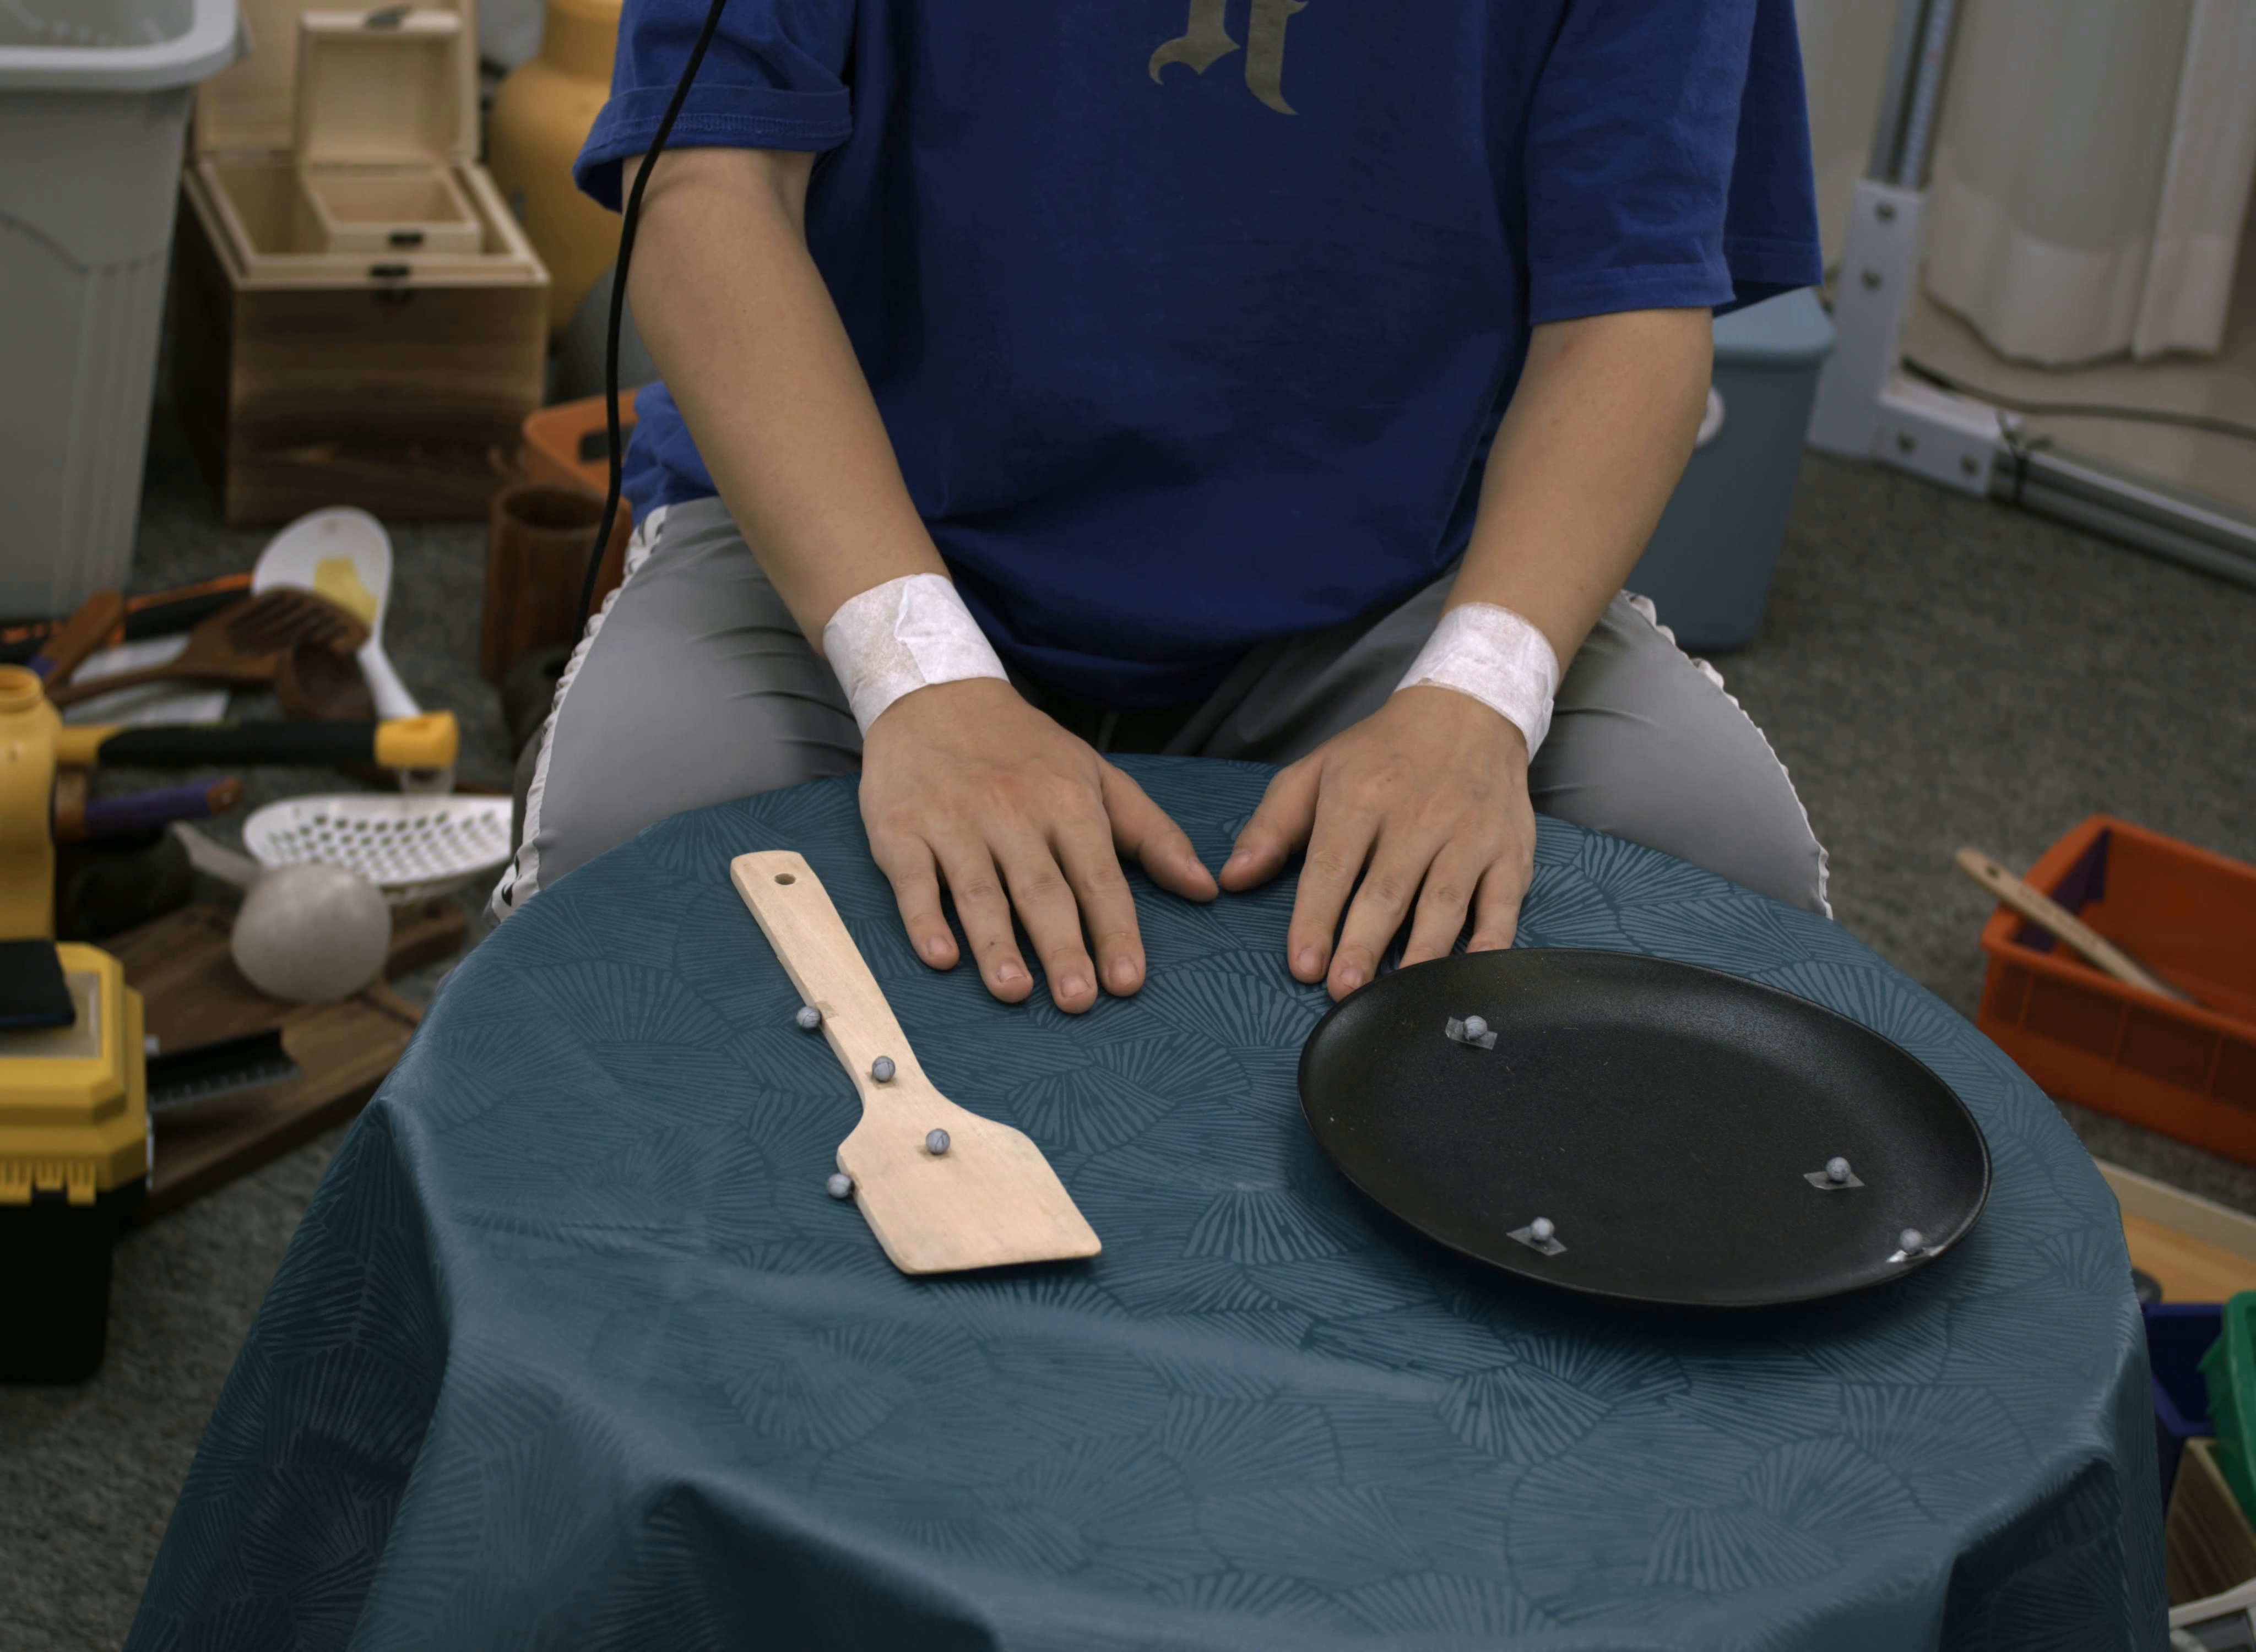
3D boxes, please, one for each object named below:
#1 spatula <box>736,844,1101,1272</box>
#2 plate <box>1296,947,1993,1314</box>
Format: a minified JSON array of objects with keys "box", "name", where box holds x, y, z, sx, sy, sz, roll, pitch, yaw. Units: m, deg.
[{"box":[-0.088,0.077,1.865,0.072,0.010,0.295,-5,29,-19],"name":"spatula"},{"box":[0.177,0.109,1.846,0.243,0.023,0.246,5,27,-3],"name":"plate"}]
